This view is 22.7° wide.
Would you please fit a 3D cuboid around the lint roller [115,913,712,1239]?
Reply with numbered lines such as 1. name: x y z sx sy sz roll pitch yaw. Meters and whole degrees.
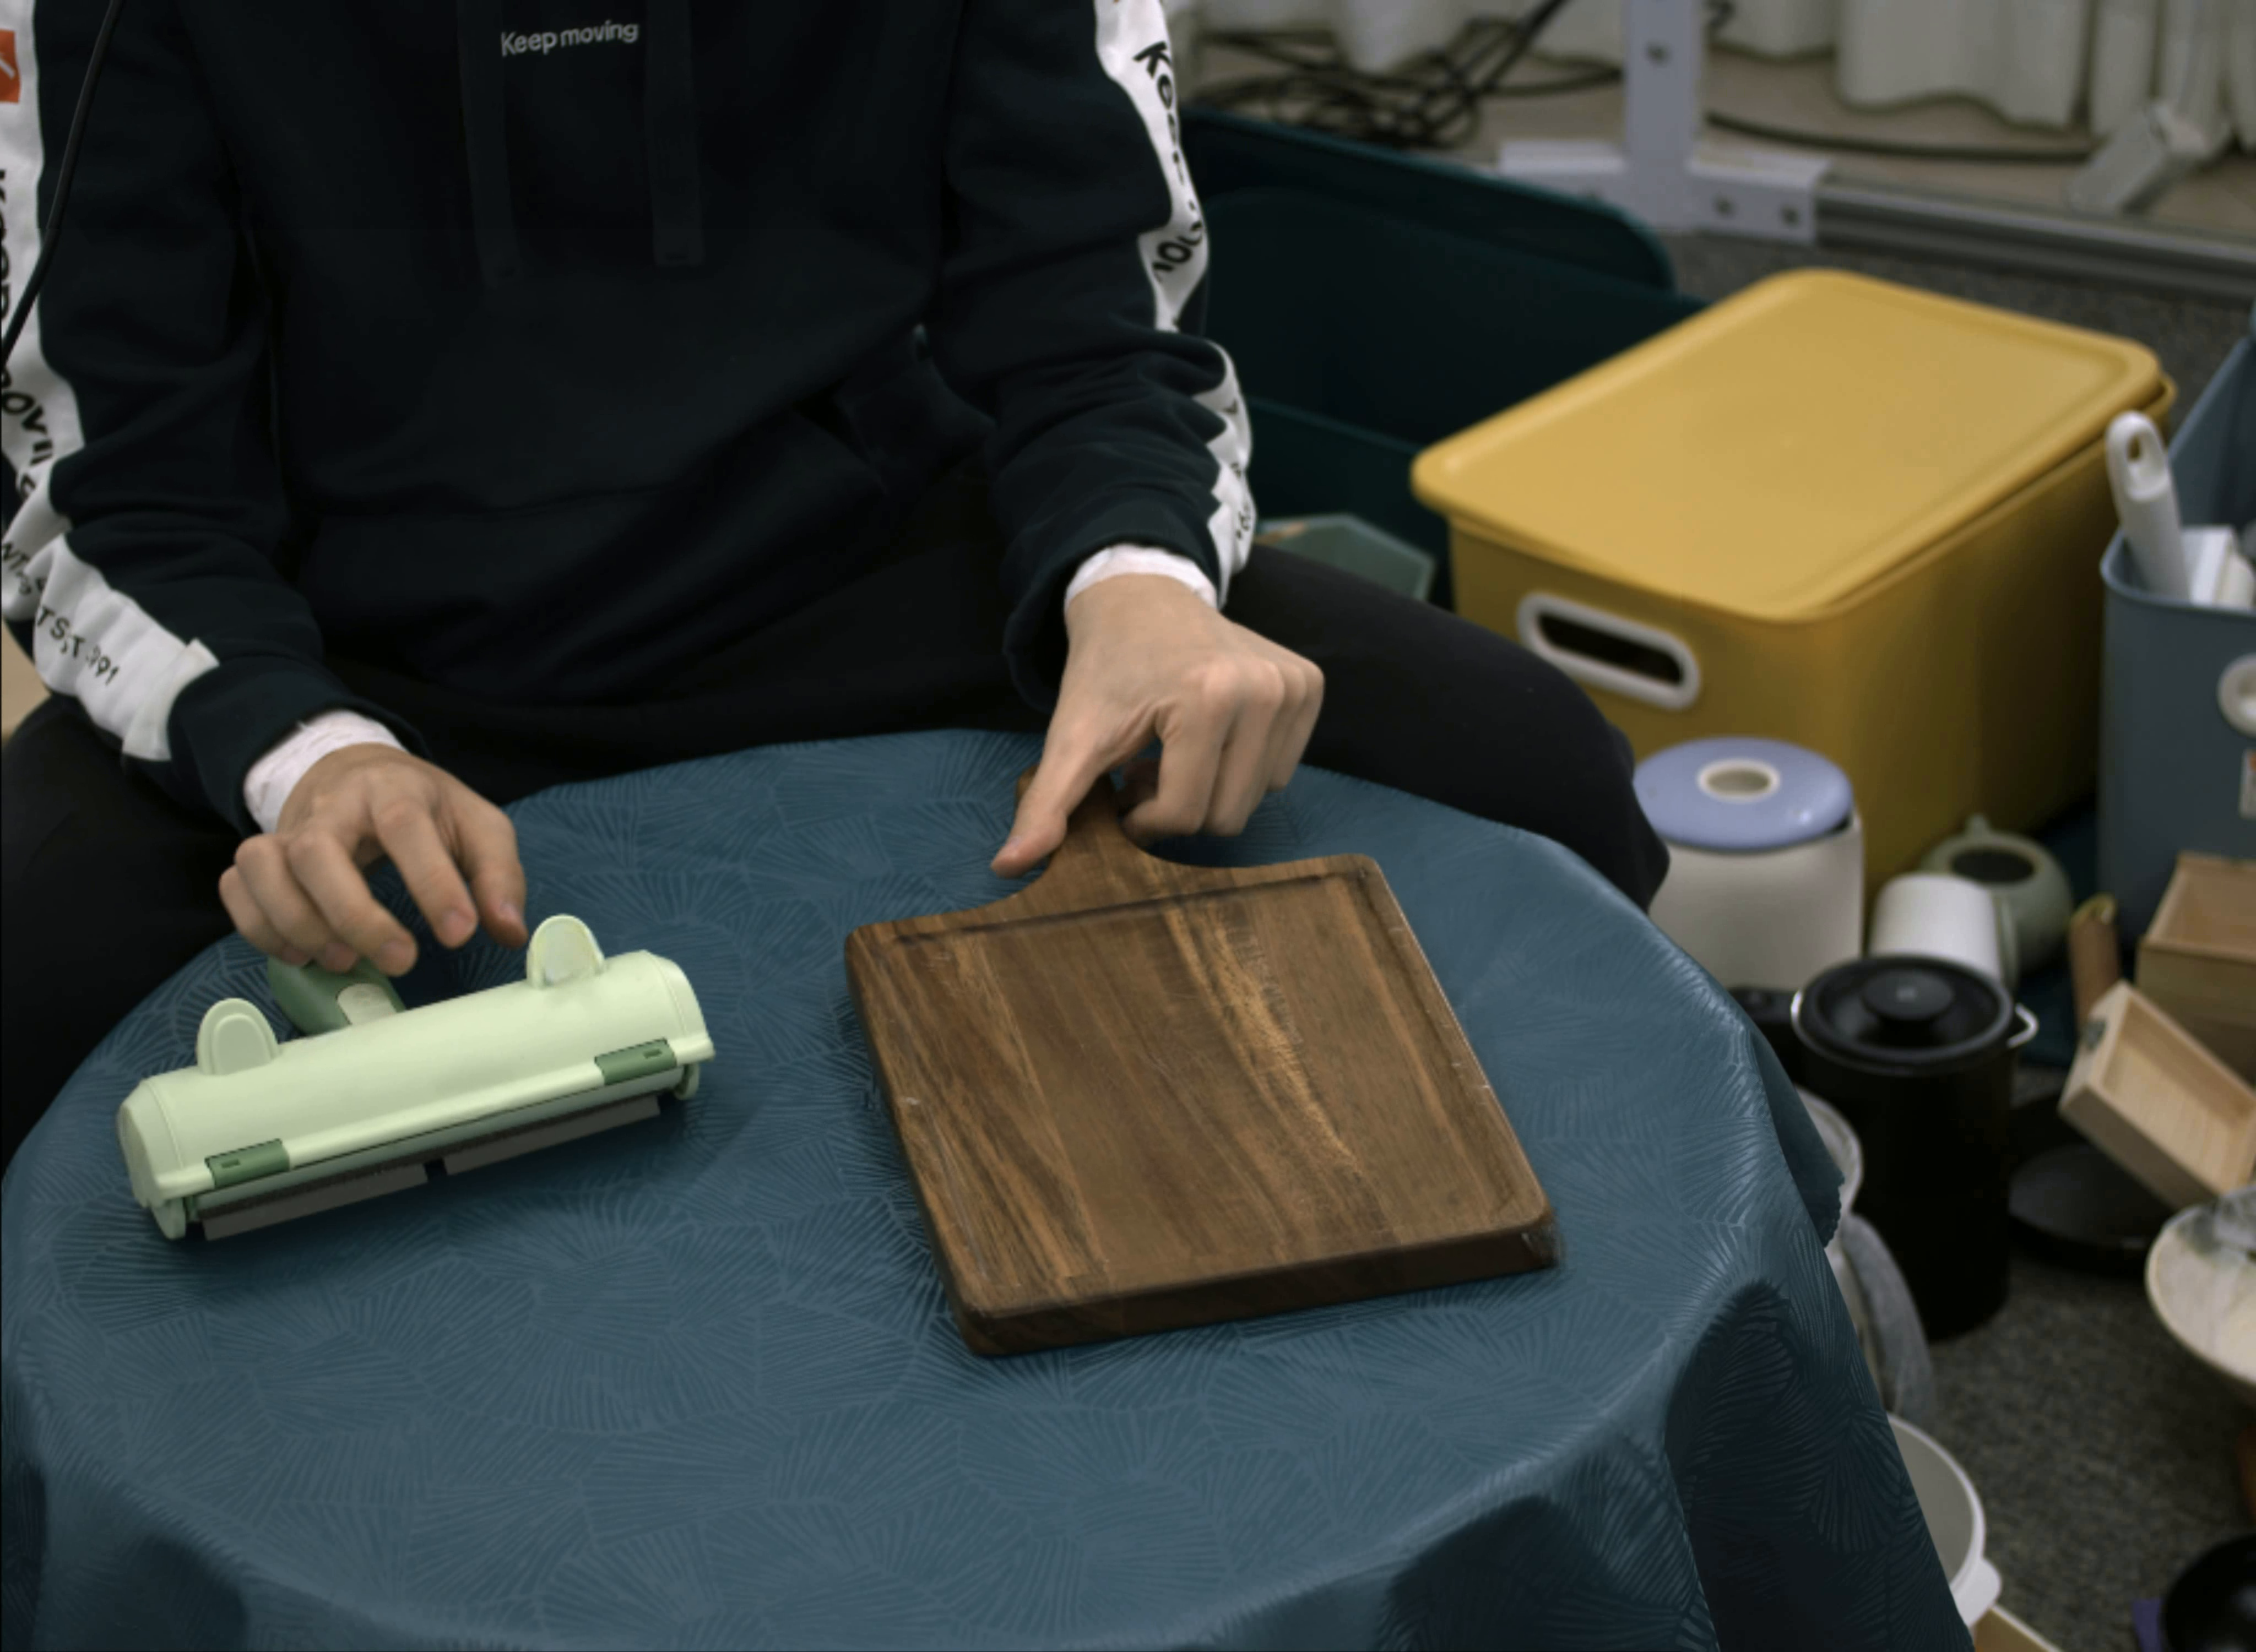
1. lint roller: -0.262 0.058 1.925 0.199 0.081 0.185 -14 33 -21

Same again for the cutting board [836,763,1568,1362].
1. cutting board: 0.009 0.067 1.934 0.201 0.023 0.356 -8 29 -10
